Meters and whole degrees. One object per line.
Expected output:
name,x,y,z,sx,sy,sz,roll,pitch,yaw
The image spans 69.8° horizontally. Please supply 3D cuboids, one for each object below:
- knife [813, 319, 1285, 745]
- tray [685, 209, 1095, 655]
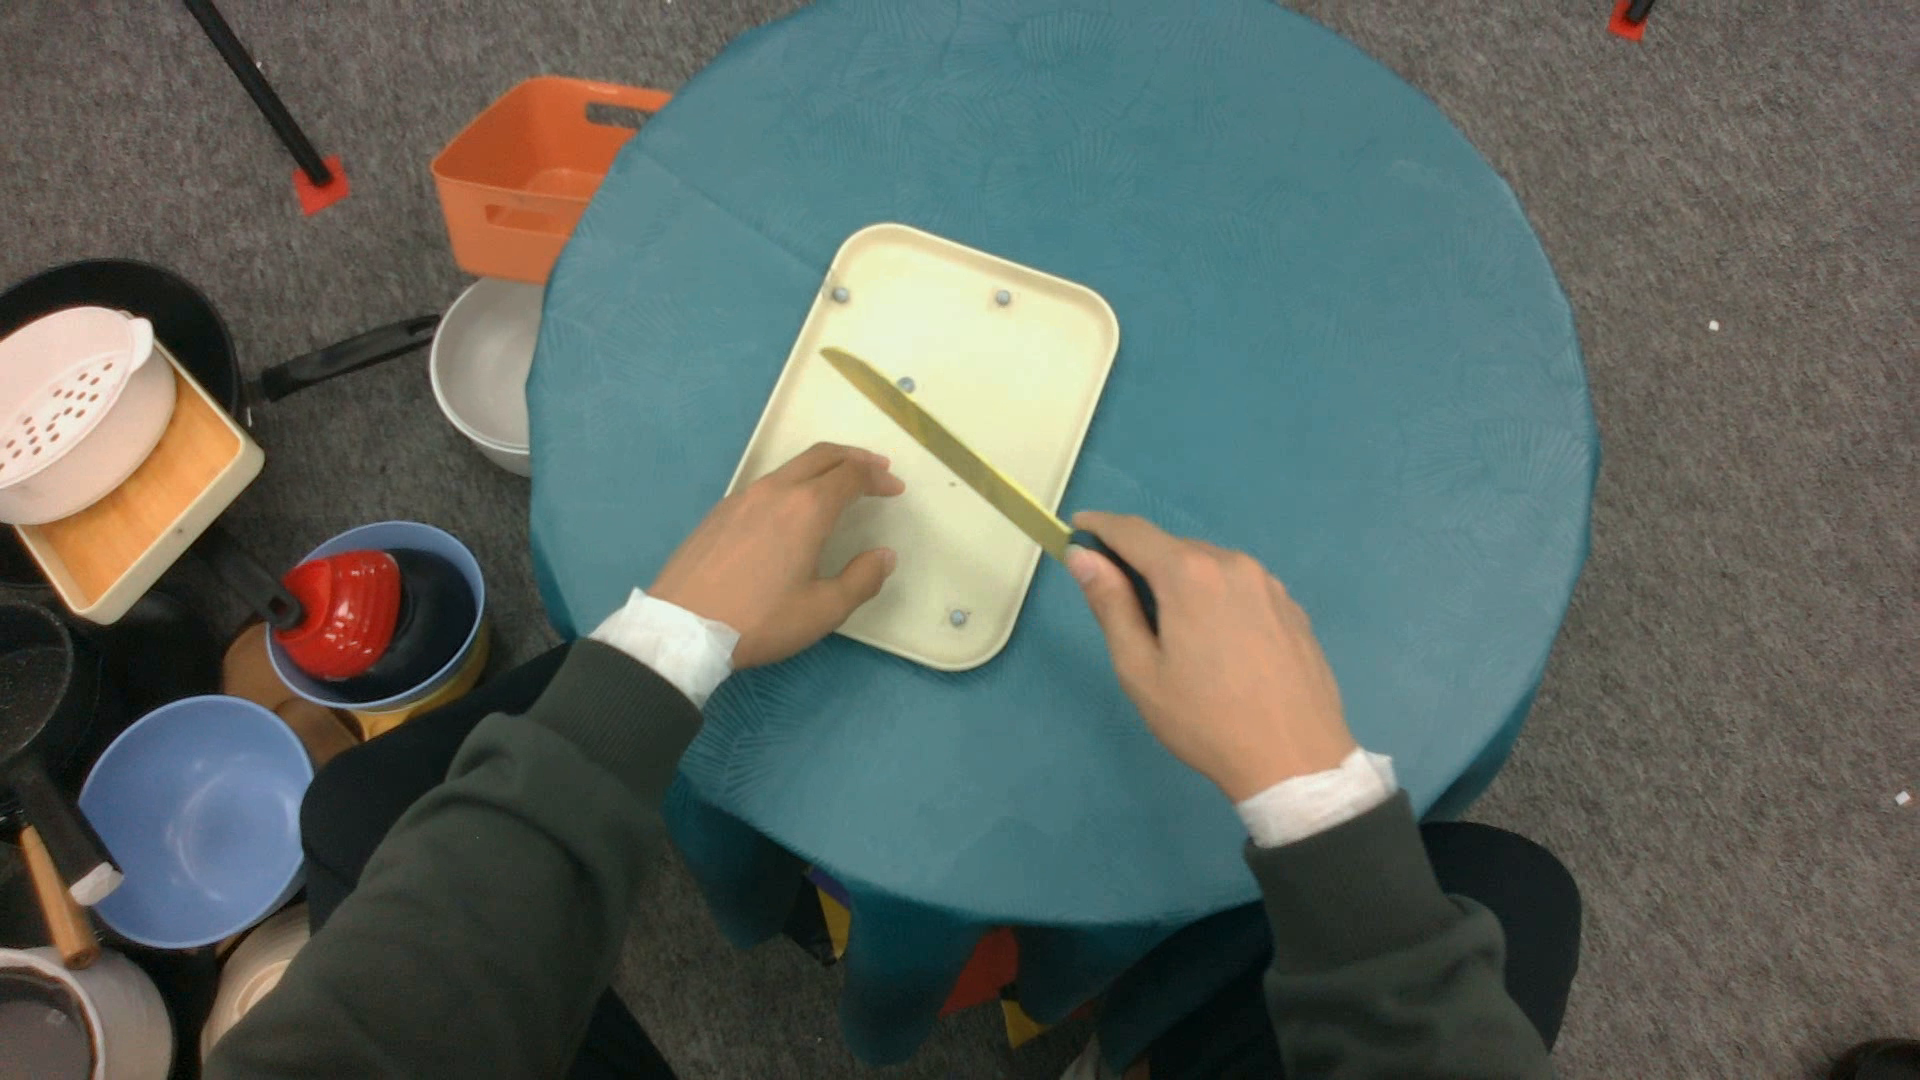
knife,0.034,-0.009,0.636,0.289,0.081,0.027,42,84,11
tray,-0.034,-0.064,0.754,0.171,0.017,0.240,19,71,4
